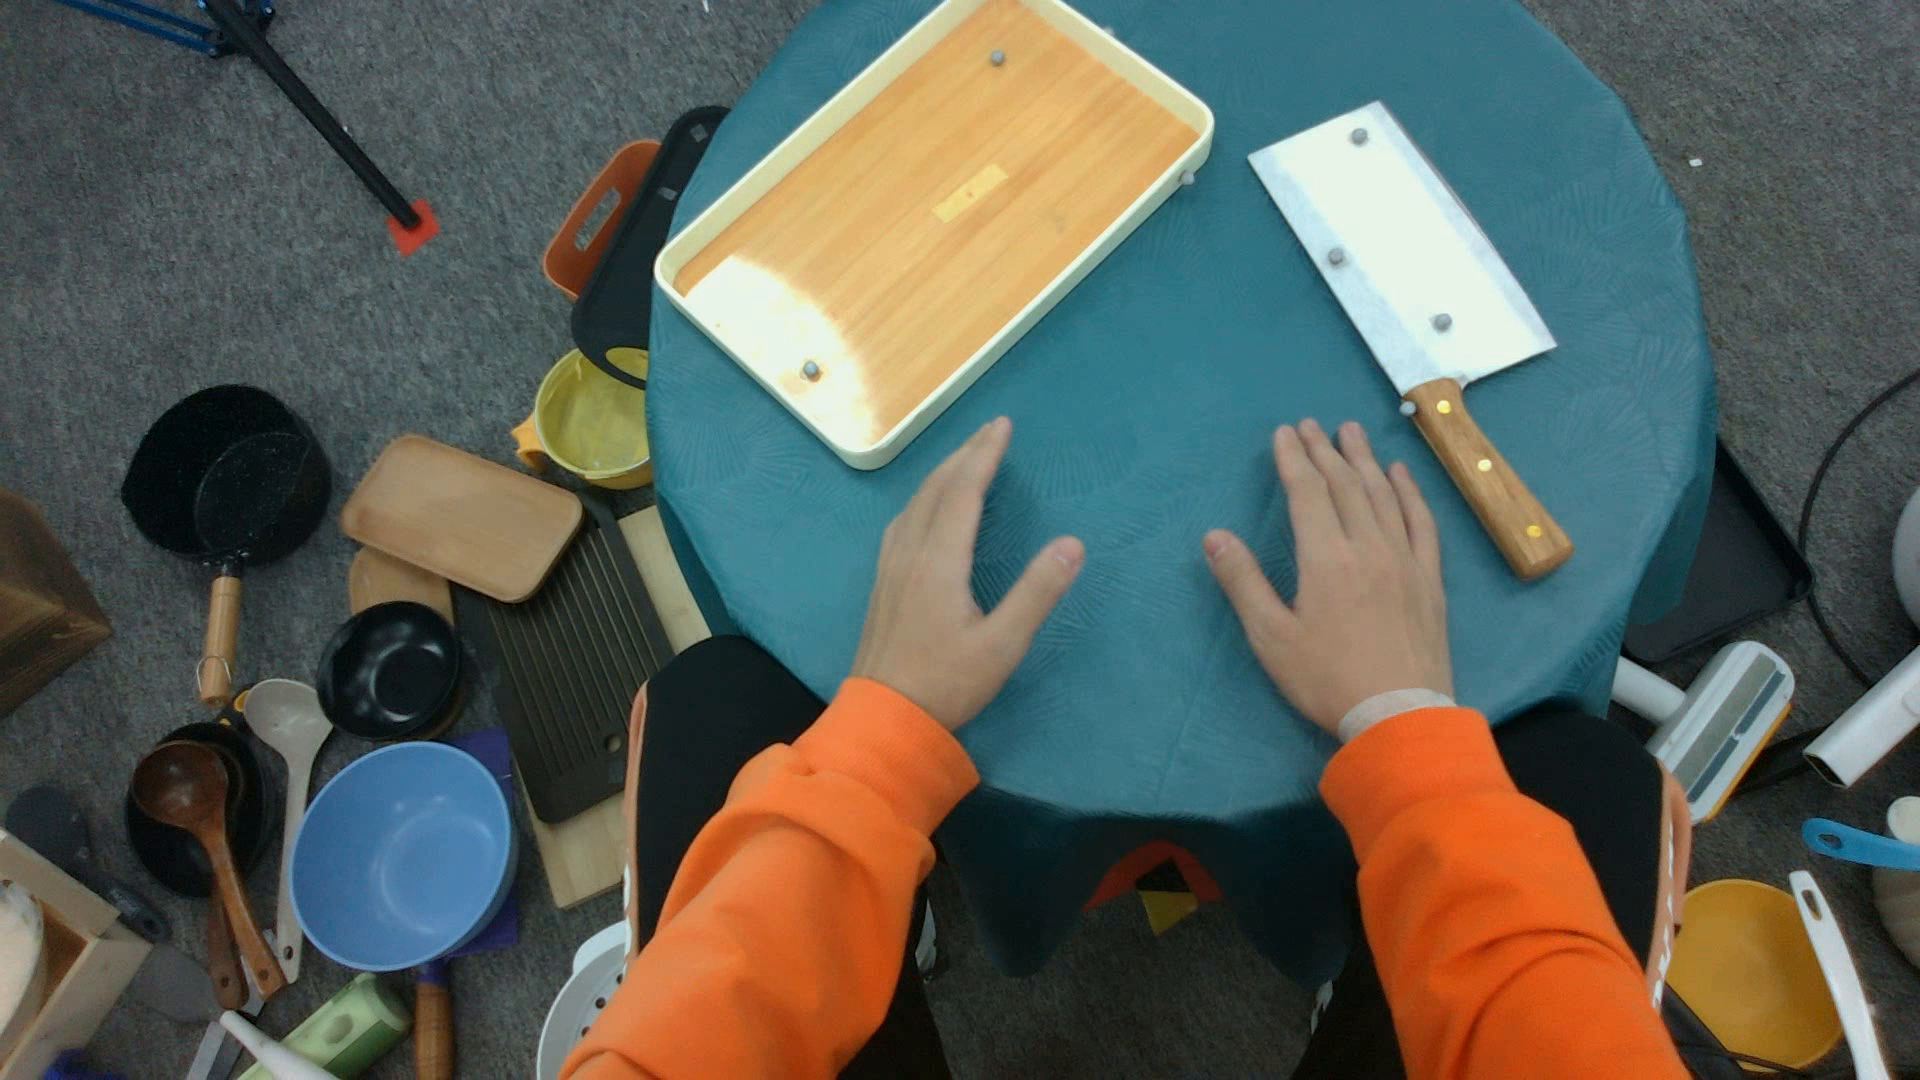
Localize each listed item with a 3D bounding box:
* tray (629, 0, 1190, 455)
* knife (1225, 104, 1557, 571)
[{"bbox_3d":[-0.028,-0.205,0.814,0.192,0.027,0.301,42,78,18],"label":"tray"},{"bbox_3d":[0.255,-0.126,0.765,0.093,0.021,0.306,-23,67,-5],"label":"knife"}]
